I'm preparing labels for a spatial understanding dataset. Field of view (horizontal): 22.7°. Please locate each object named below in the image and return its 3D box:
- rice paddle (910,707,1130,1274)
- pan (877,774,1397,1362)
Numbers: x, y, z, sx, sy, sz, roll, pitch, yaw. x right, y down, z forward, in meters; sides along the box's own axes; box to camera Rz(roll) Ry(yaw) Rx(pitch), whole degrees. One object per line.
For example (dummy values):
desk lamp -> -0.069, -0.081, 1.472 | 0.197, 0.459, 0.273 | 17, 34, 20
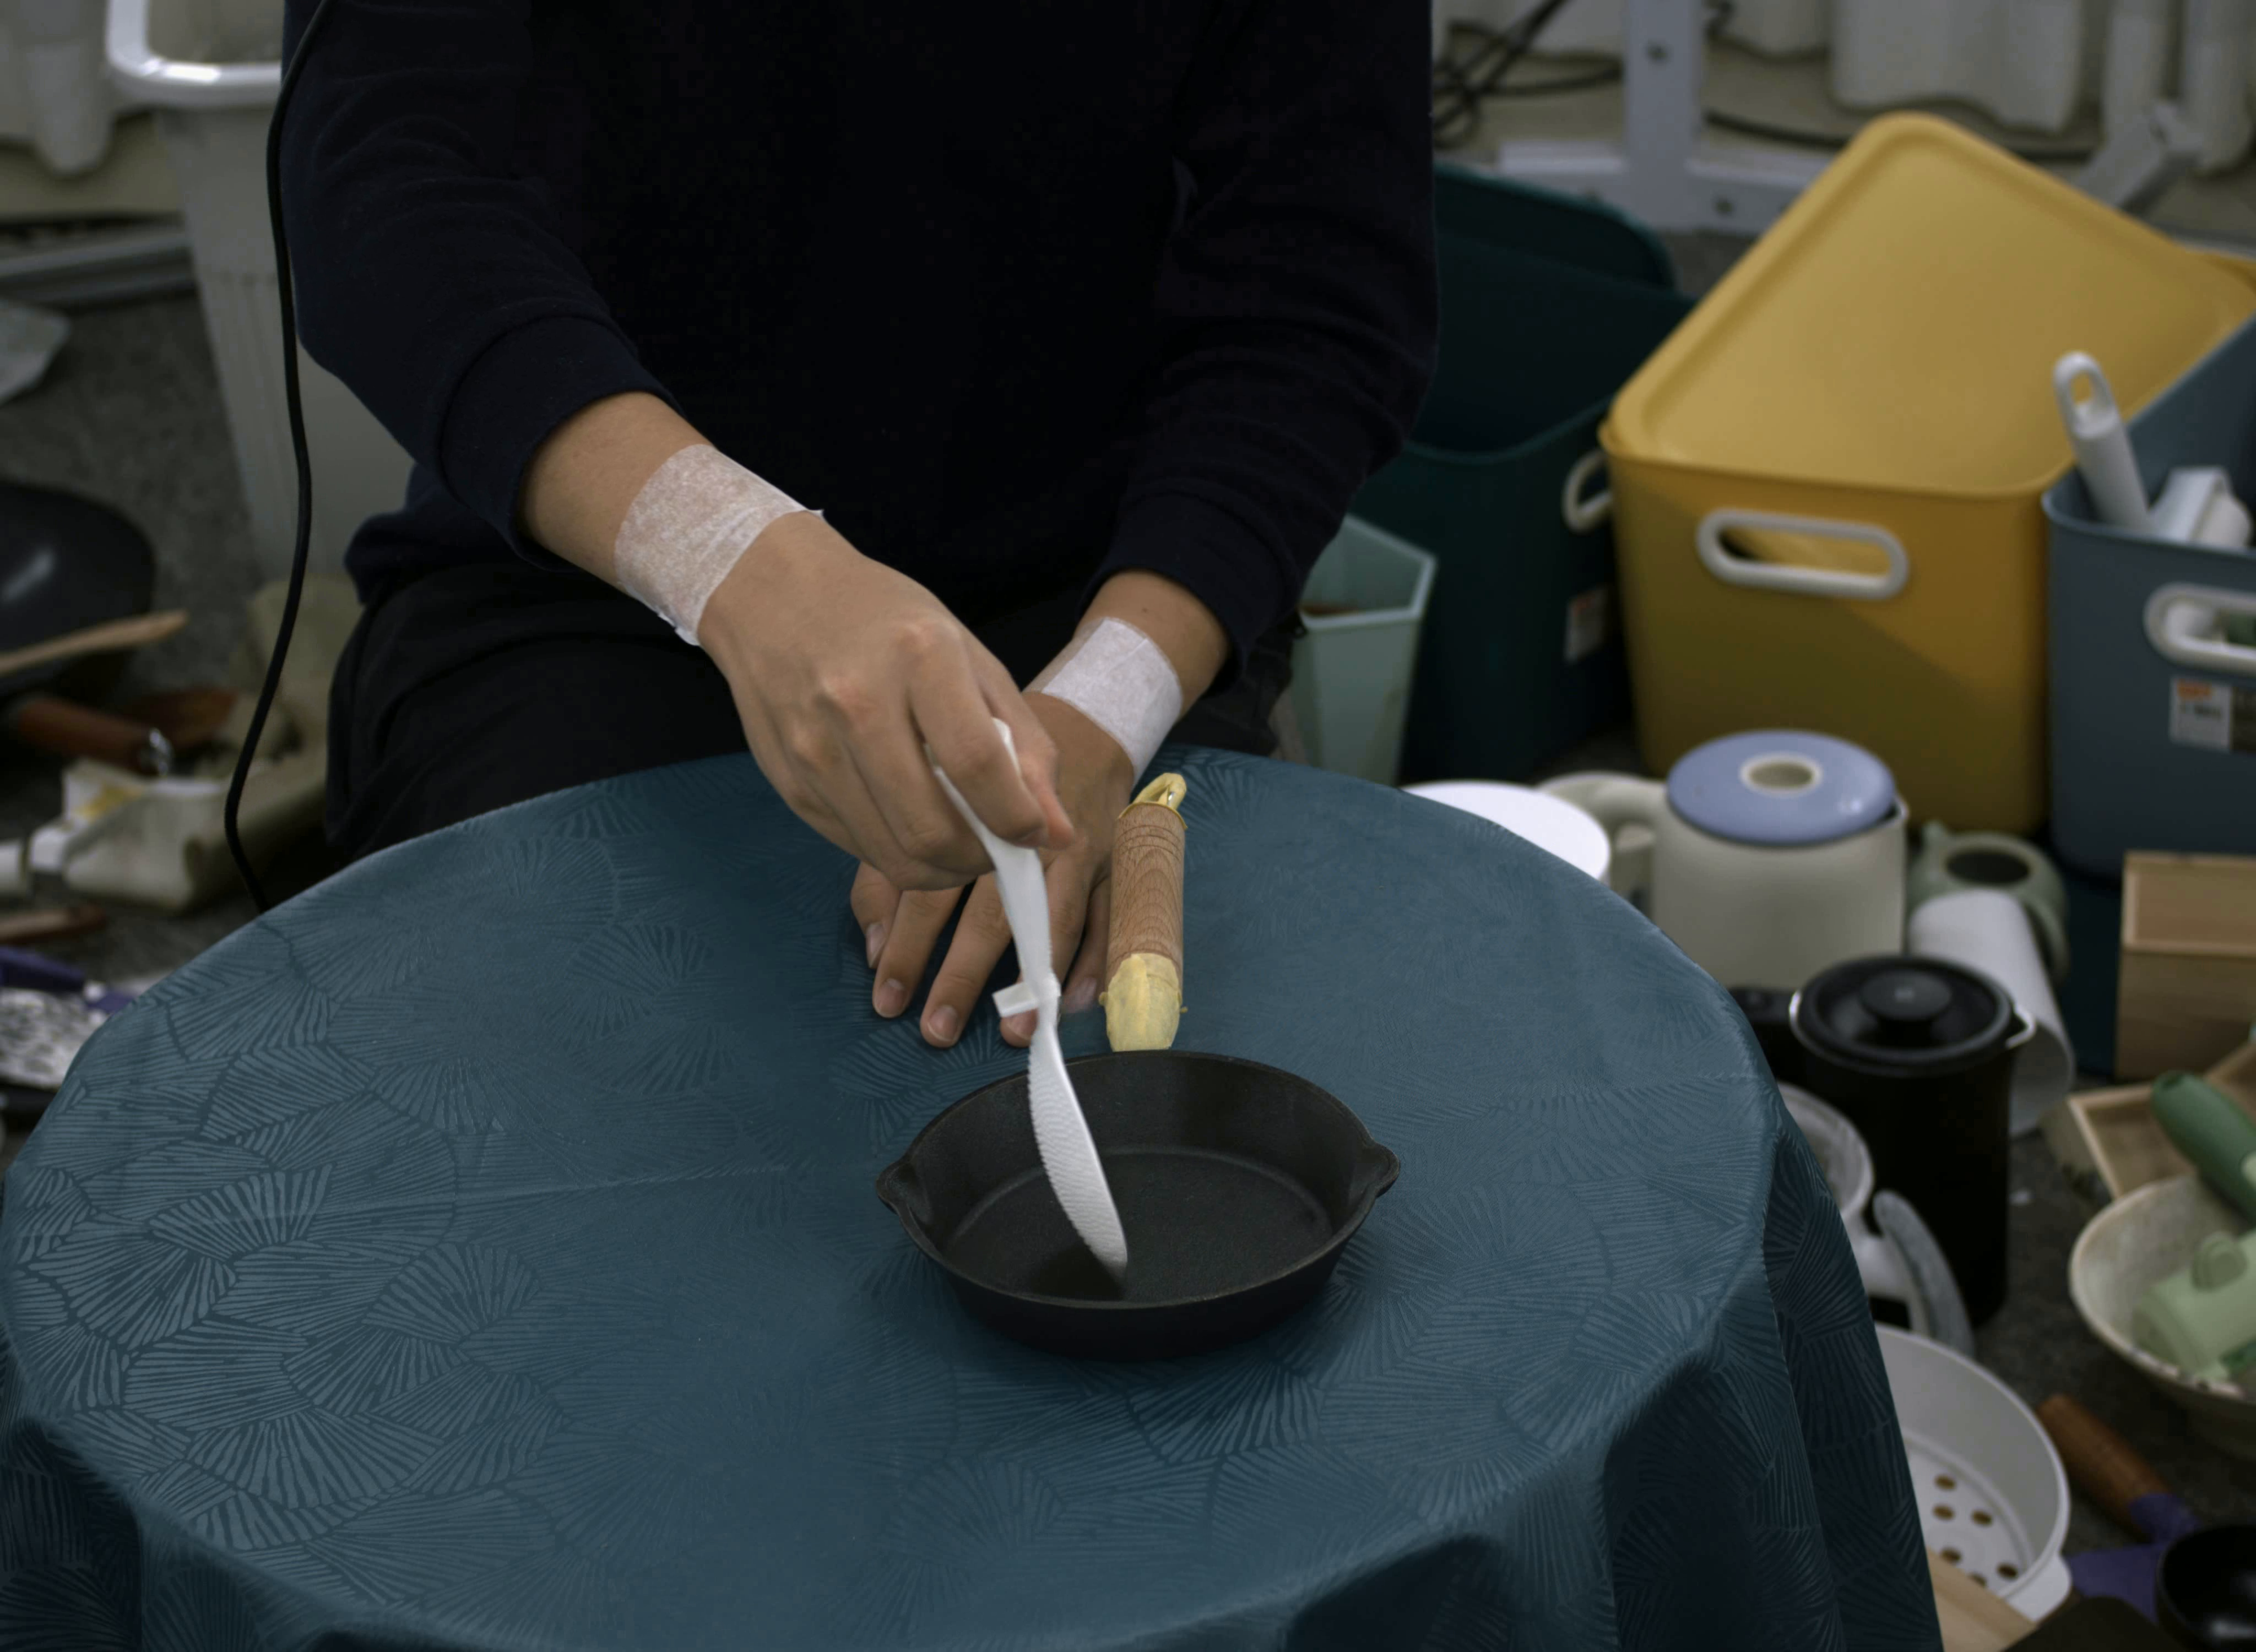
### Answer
rice paddle -> -0.026, 0.055, 1.767 | 0.029, 0.203, 0.069 | -19, 29, -4
pan -> 0.007, 0.078, 1.890 | 0.168, 0.049, 0.329 | -1, 29, 3
